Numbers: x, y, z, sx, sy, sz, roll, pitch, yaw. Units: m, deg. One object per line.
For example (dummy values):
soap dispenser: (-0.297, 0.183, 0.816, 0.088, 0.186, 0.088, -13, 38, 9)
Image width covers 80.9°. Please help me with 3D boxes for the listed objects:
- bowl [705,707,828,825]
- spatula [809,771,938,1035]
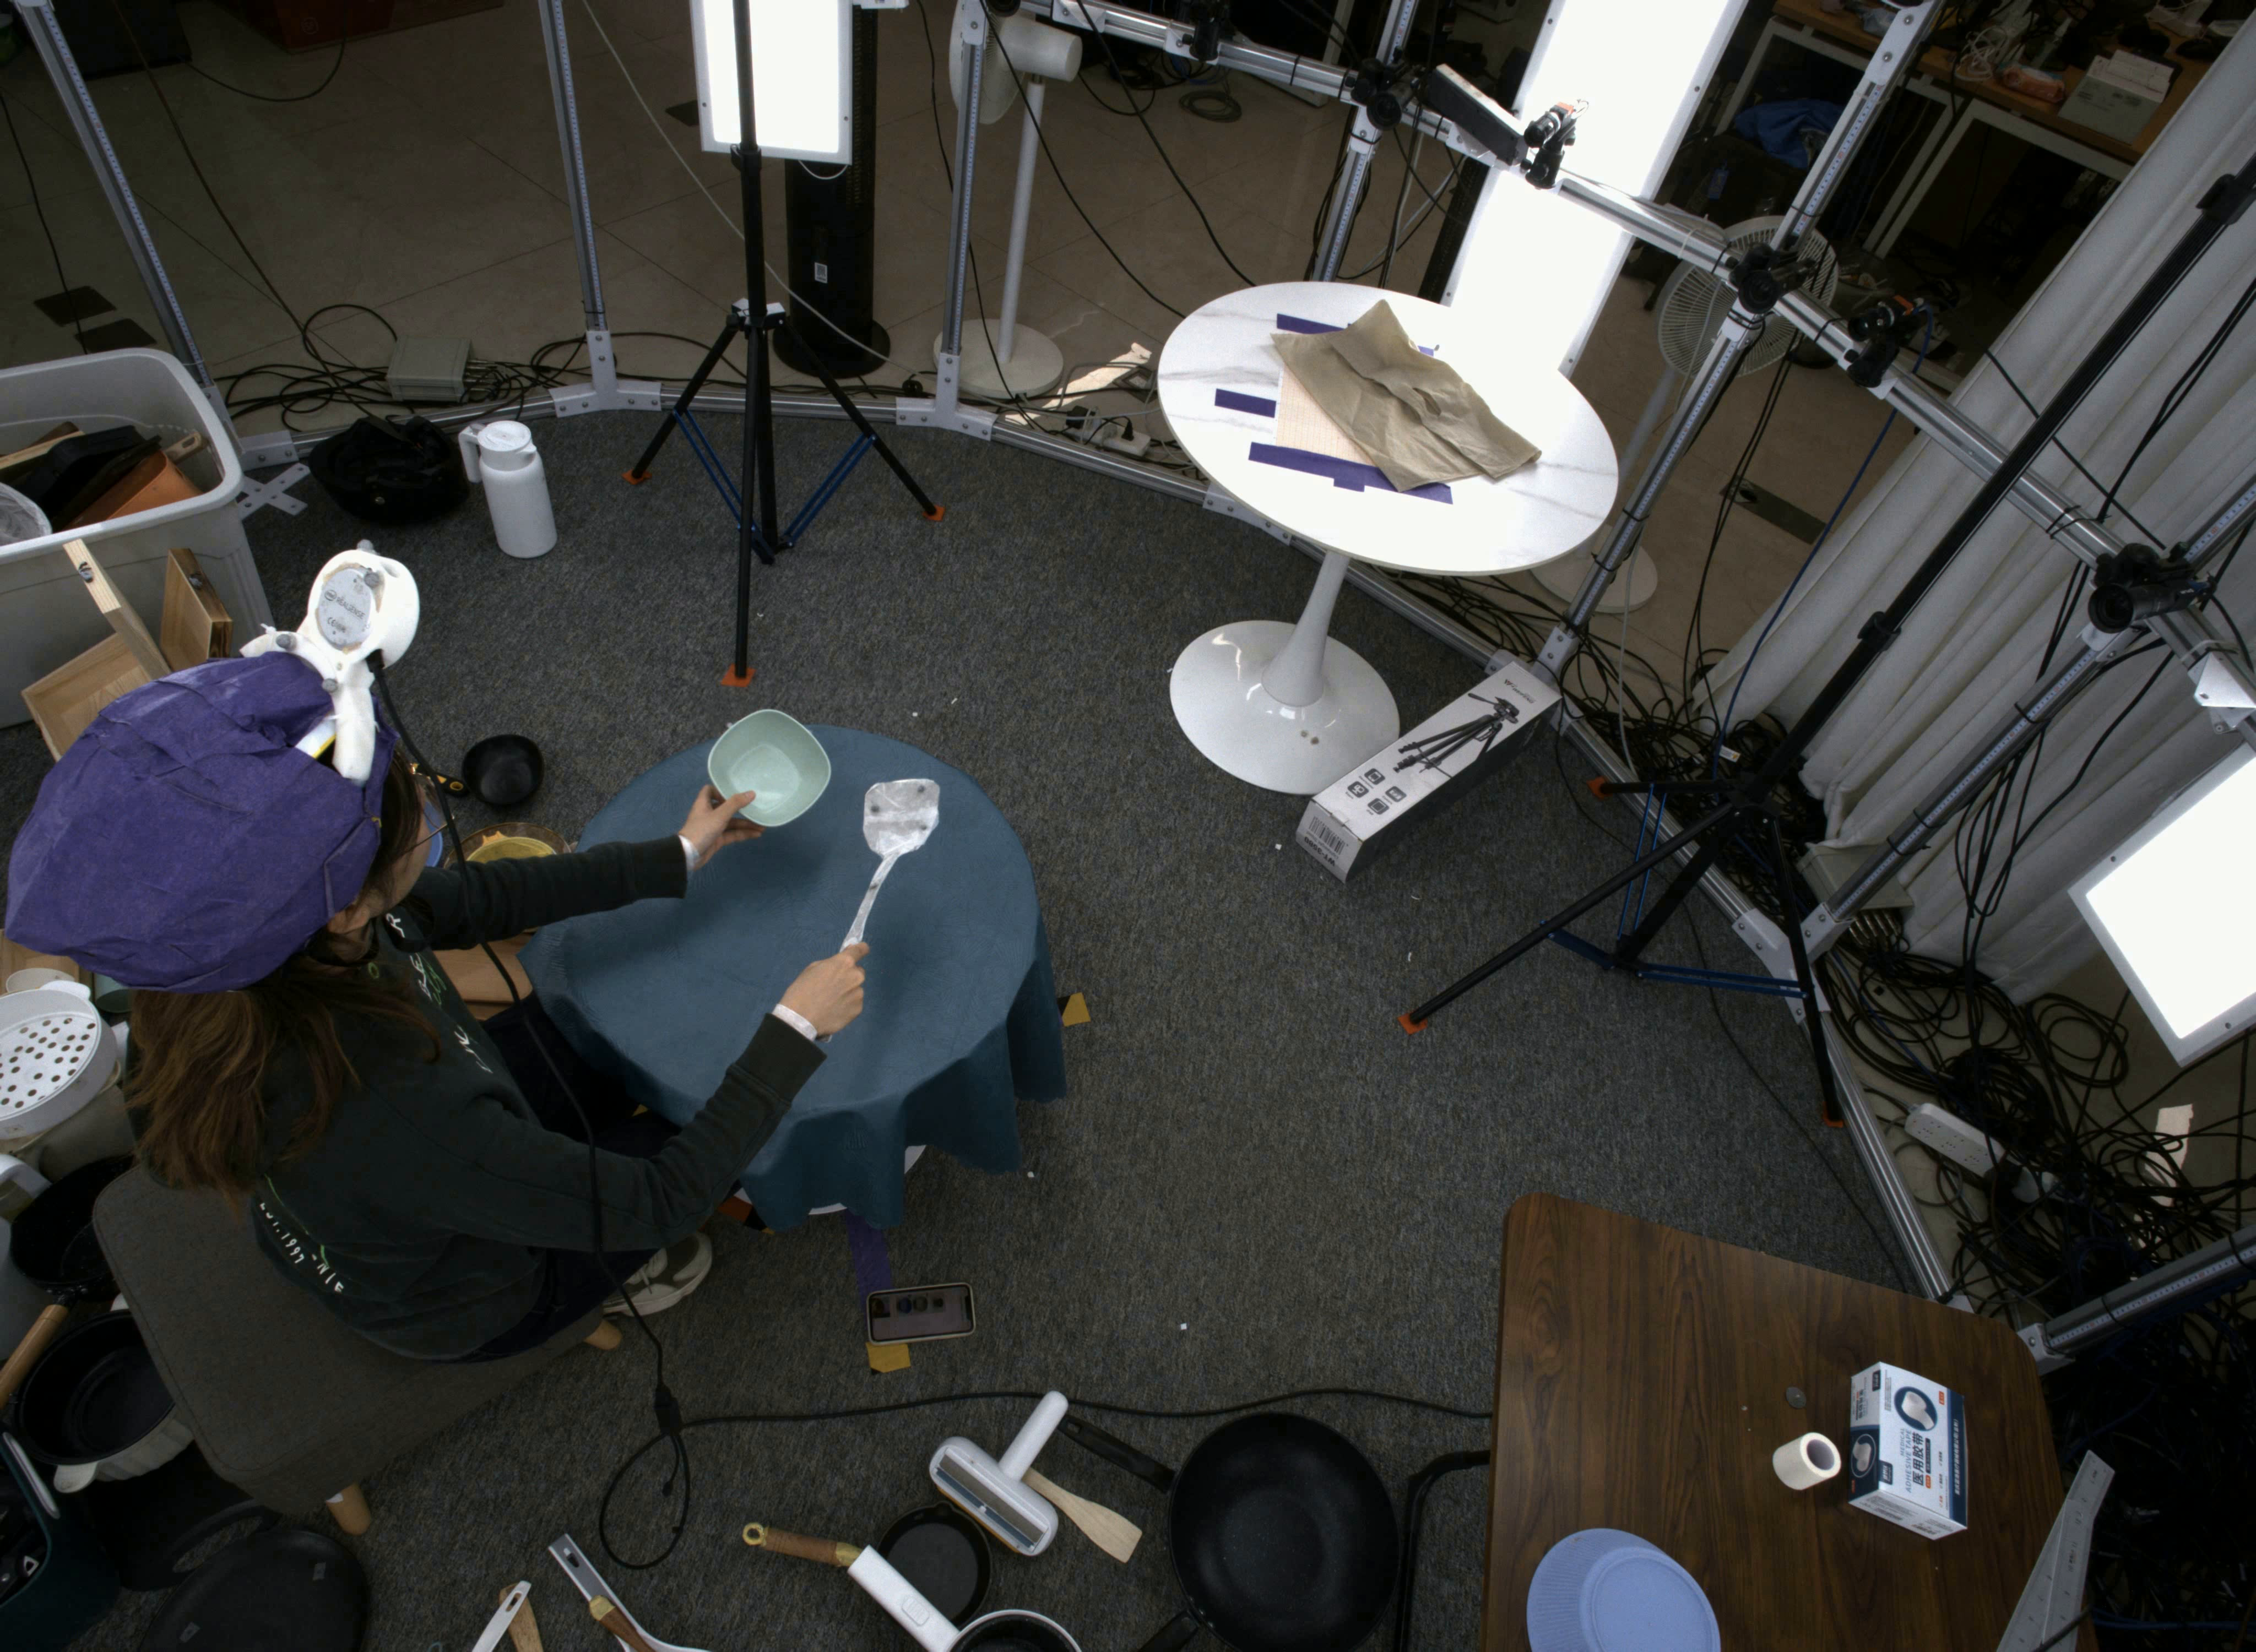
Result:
bowl: (-0.458, -0.068, 1.629, 0.153, 0.058, 0.151, 8, 72, -23)
spatula: (-0.298, 0.075, 1.469, 0.096, 0.046, 0.359, 1, 45, 13)
